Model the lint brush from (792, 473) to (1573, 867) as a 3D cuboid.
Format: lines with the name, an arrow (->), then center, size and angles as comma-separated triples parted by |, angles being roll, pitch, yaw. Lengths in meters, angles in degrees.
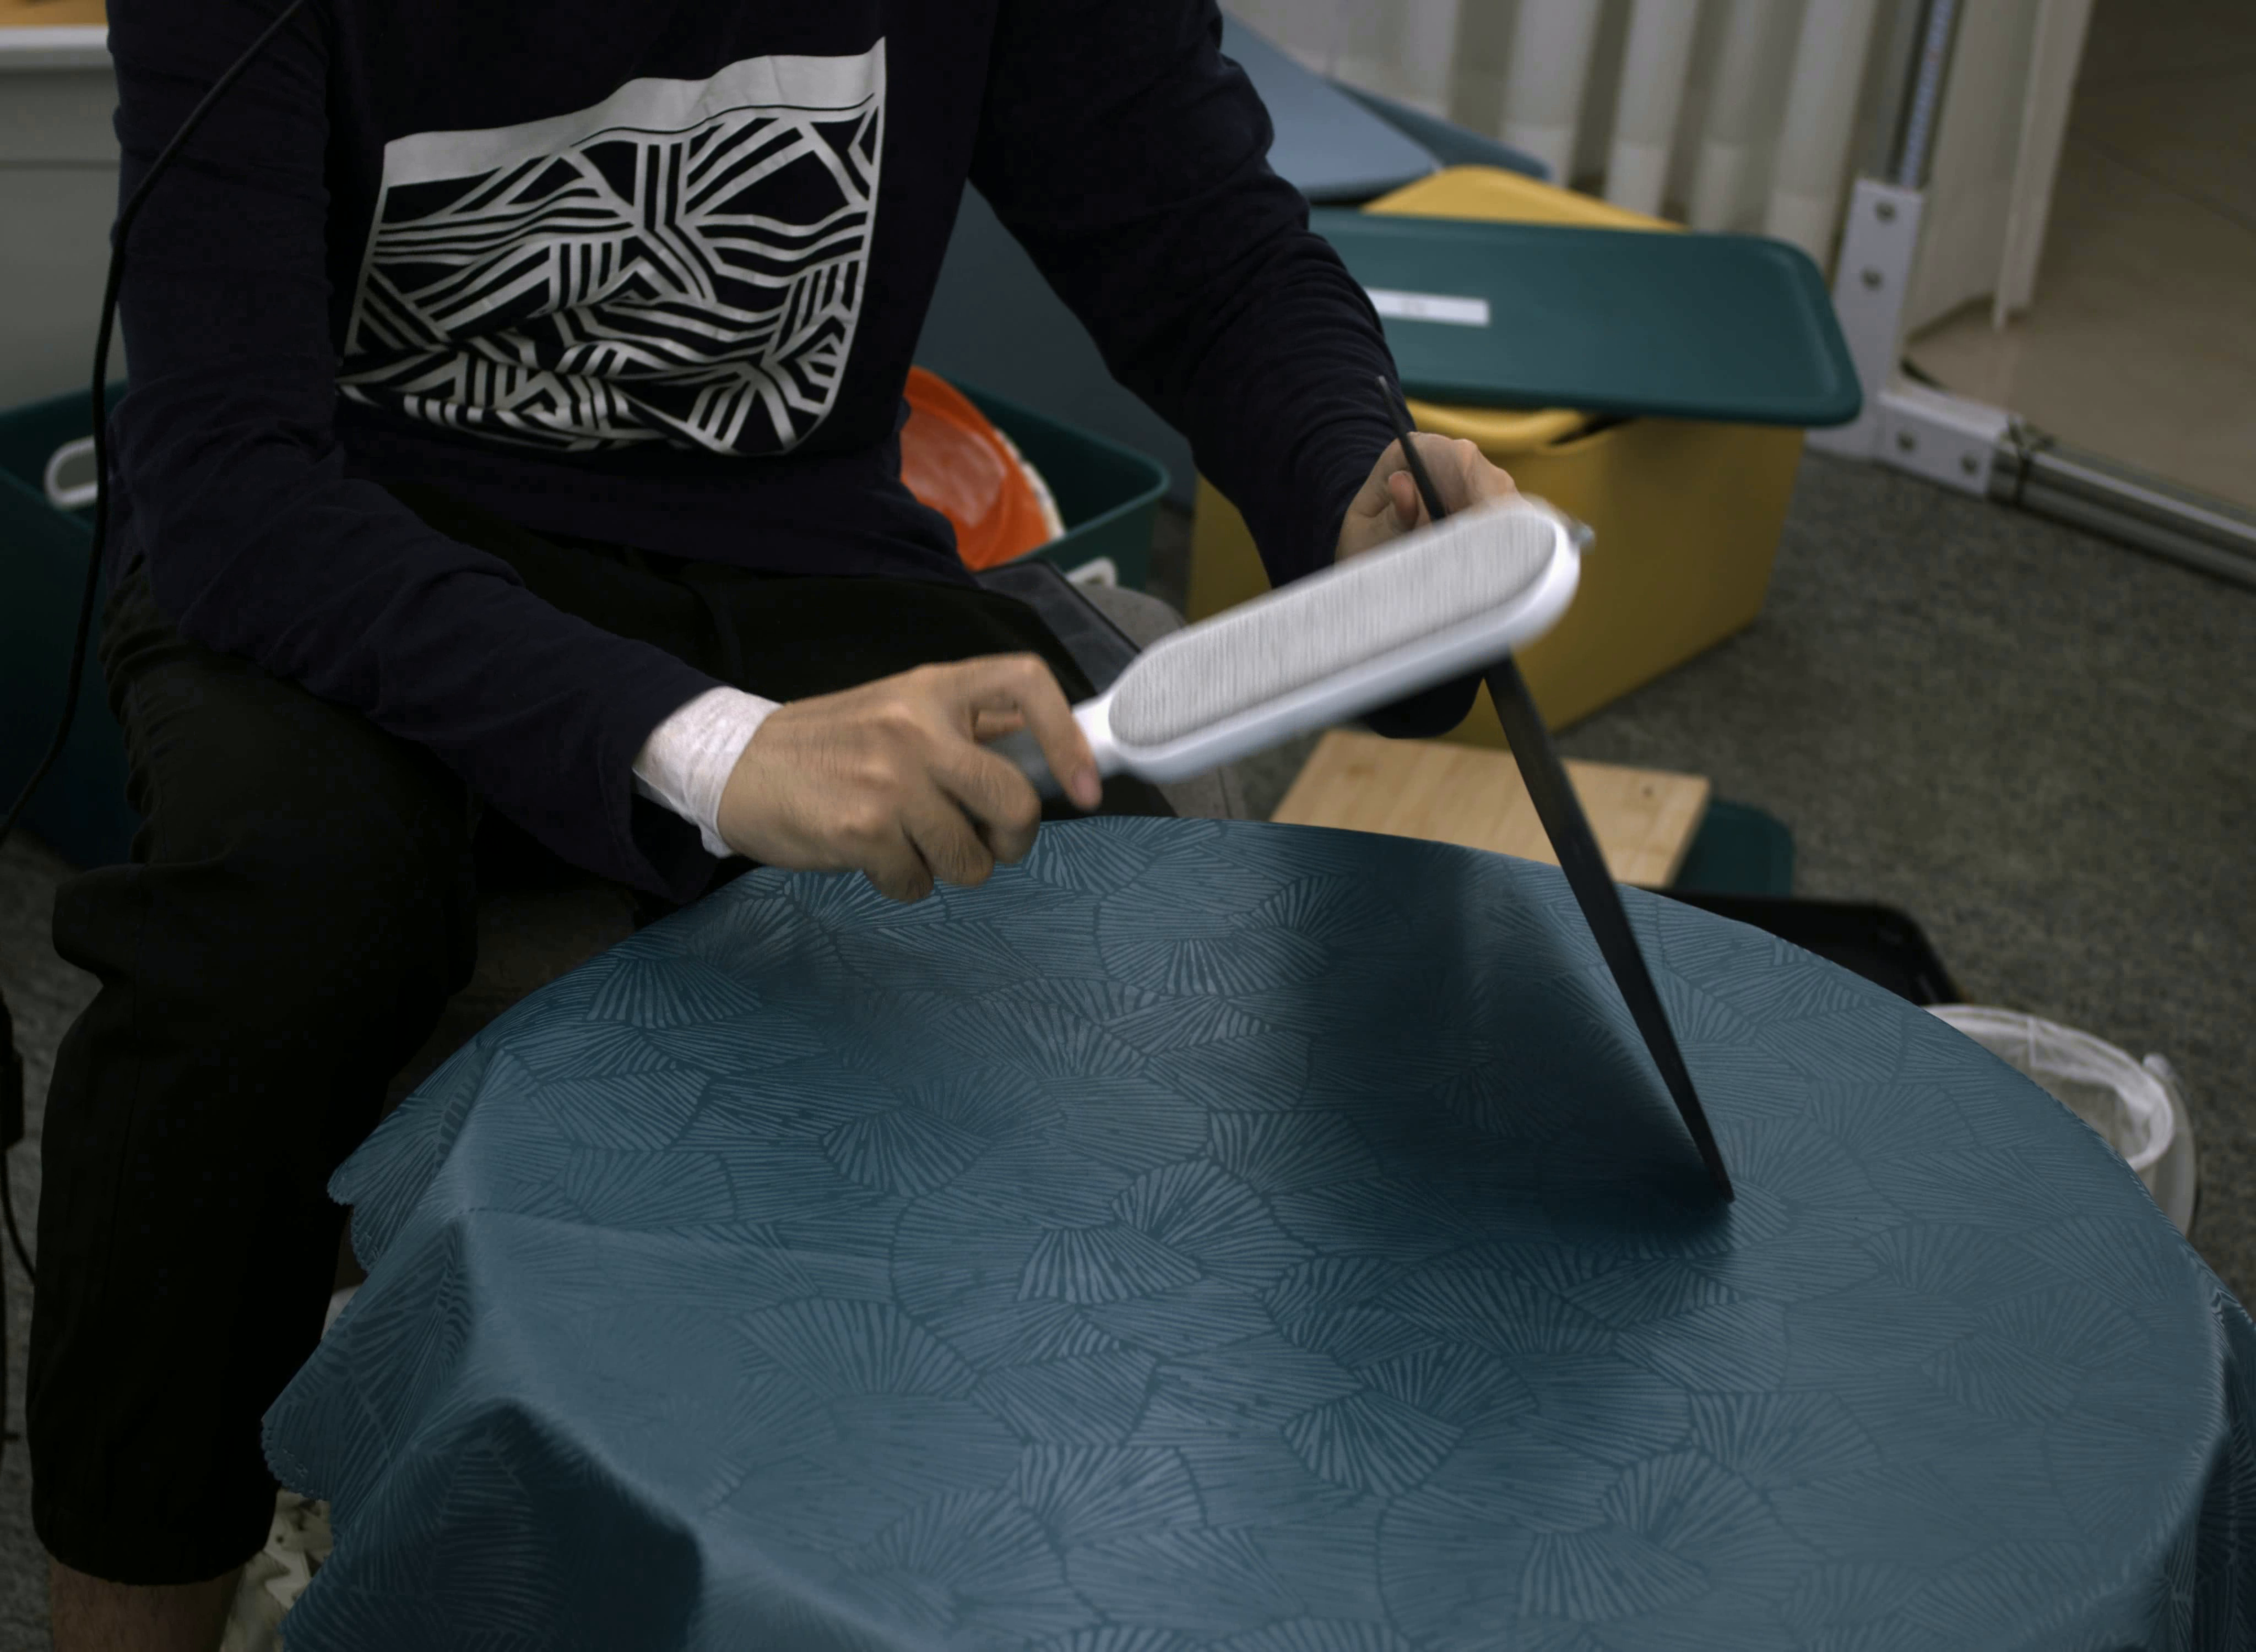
lint brush -> 0.015, -0.049, 1.838 | 0.309, 0.021, 0.060 | -22, 47, 22

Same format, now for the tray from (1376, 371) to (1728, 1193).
tray -> 0.147, -0.025, 1.890 | 0.010, 0.209, 0.328 | -22, 36, 2
